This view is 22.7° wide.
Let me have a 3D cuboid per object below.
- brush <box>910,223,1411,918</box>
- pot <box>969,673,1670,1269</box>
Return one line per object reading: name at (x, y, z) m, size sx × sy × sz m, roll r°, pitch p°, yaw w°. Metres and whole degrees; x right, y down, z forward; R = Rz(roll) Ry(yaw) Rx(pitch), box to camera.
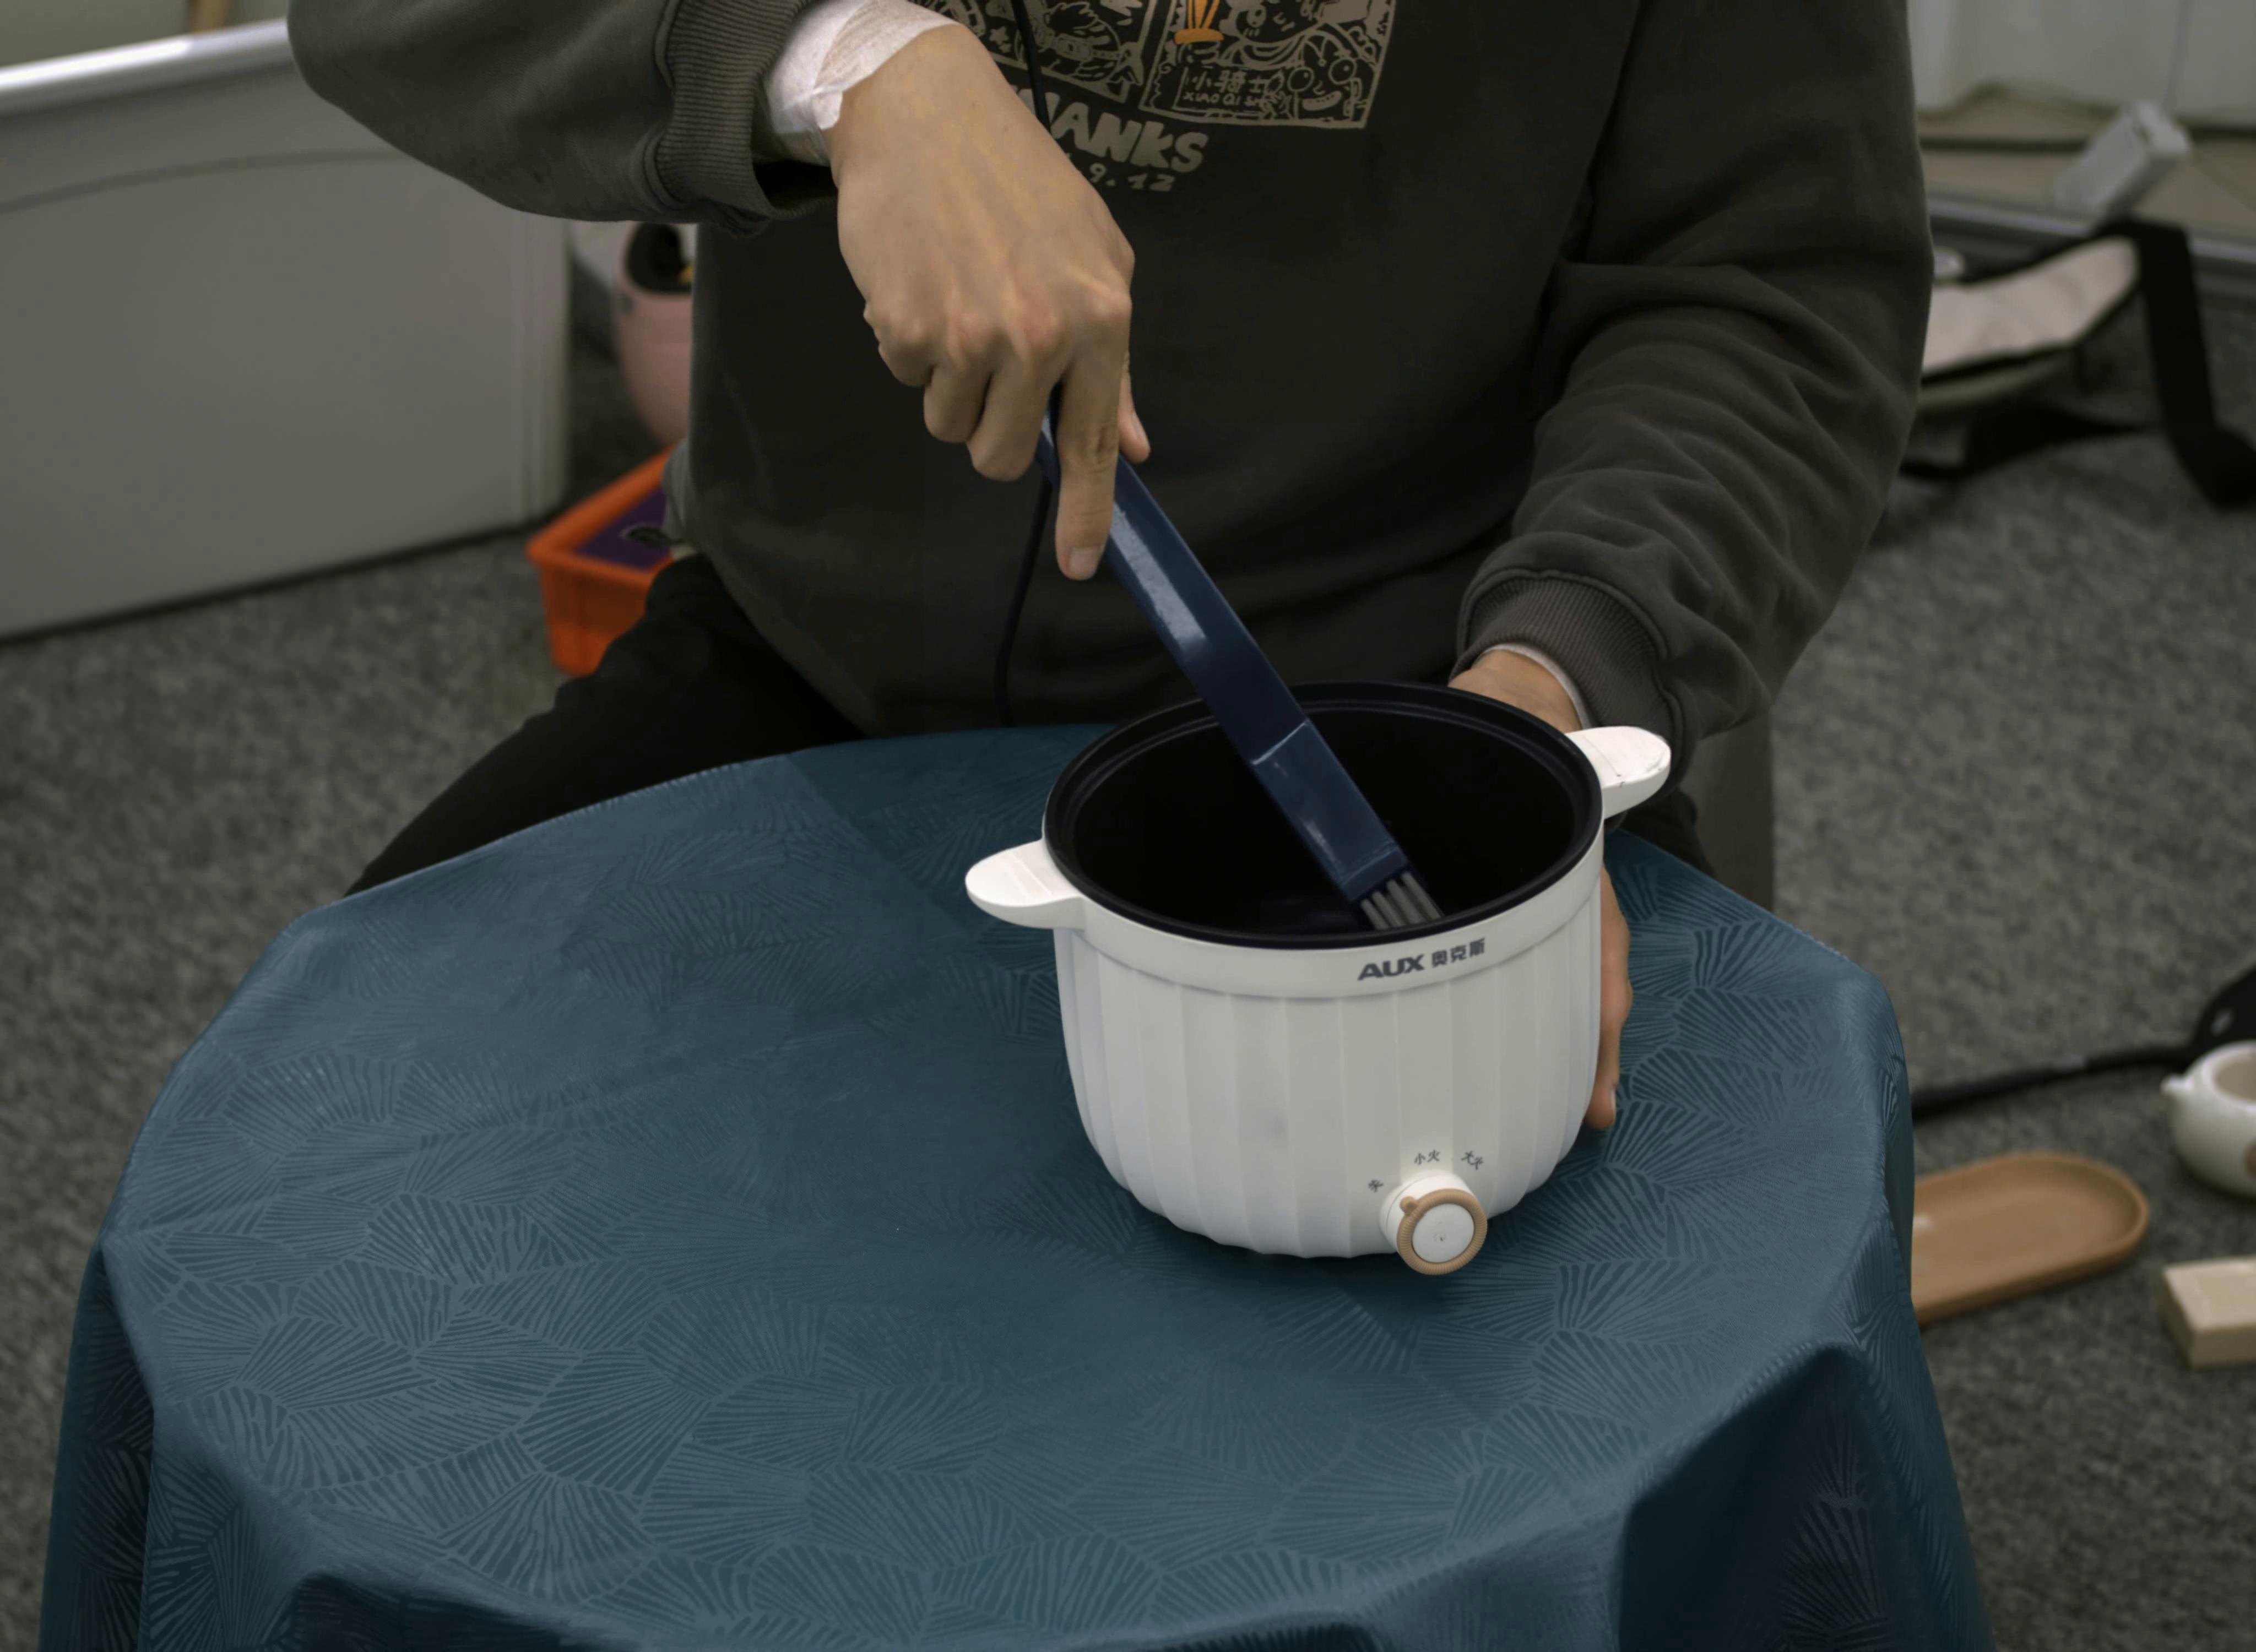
brush at (0.019, -0.070, 1.817) m, size 0.033 × 0.271 × 0.096 m, roll -34°, pitch 21°, yaw 2°
pot at (0.070, 0.052, 1.837) m, size 0.241 × 0.141 × 0.192 m, roll -13°, pitch 25°, yaw -15°
